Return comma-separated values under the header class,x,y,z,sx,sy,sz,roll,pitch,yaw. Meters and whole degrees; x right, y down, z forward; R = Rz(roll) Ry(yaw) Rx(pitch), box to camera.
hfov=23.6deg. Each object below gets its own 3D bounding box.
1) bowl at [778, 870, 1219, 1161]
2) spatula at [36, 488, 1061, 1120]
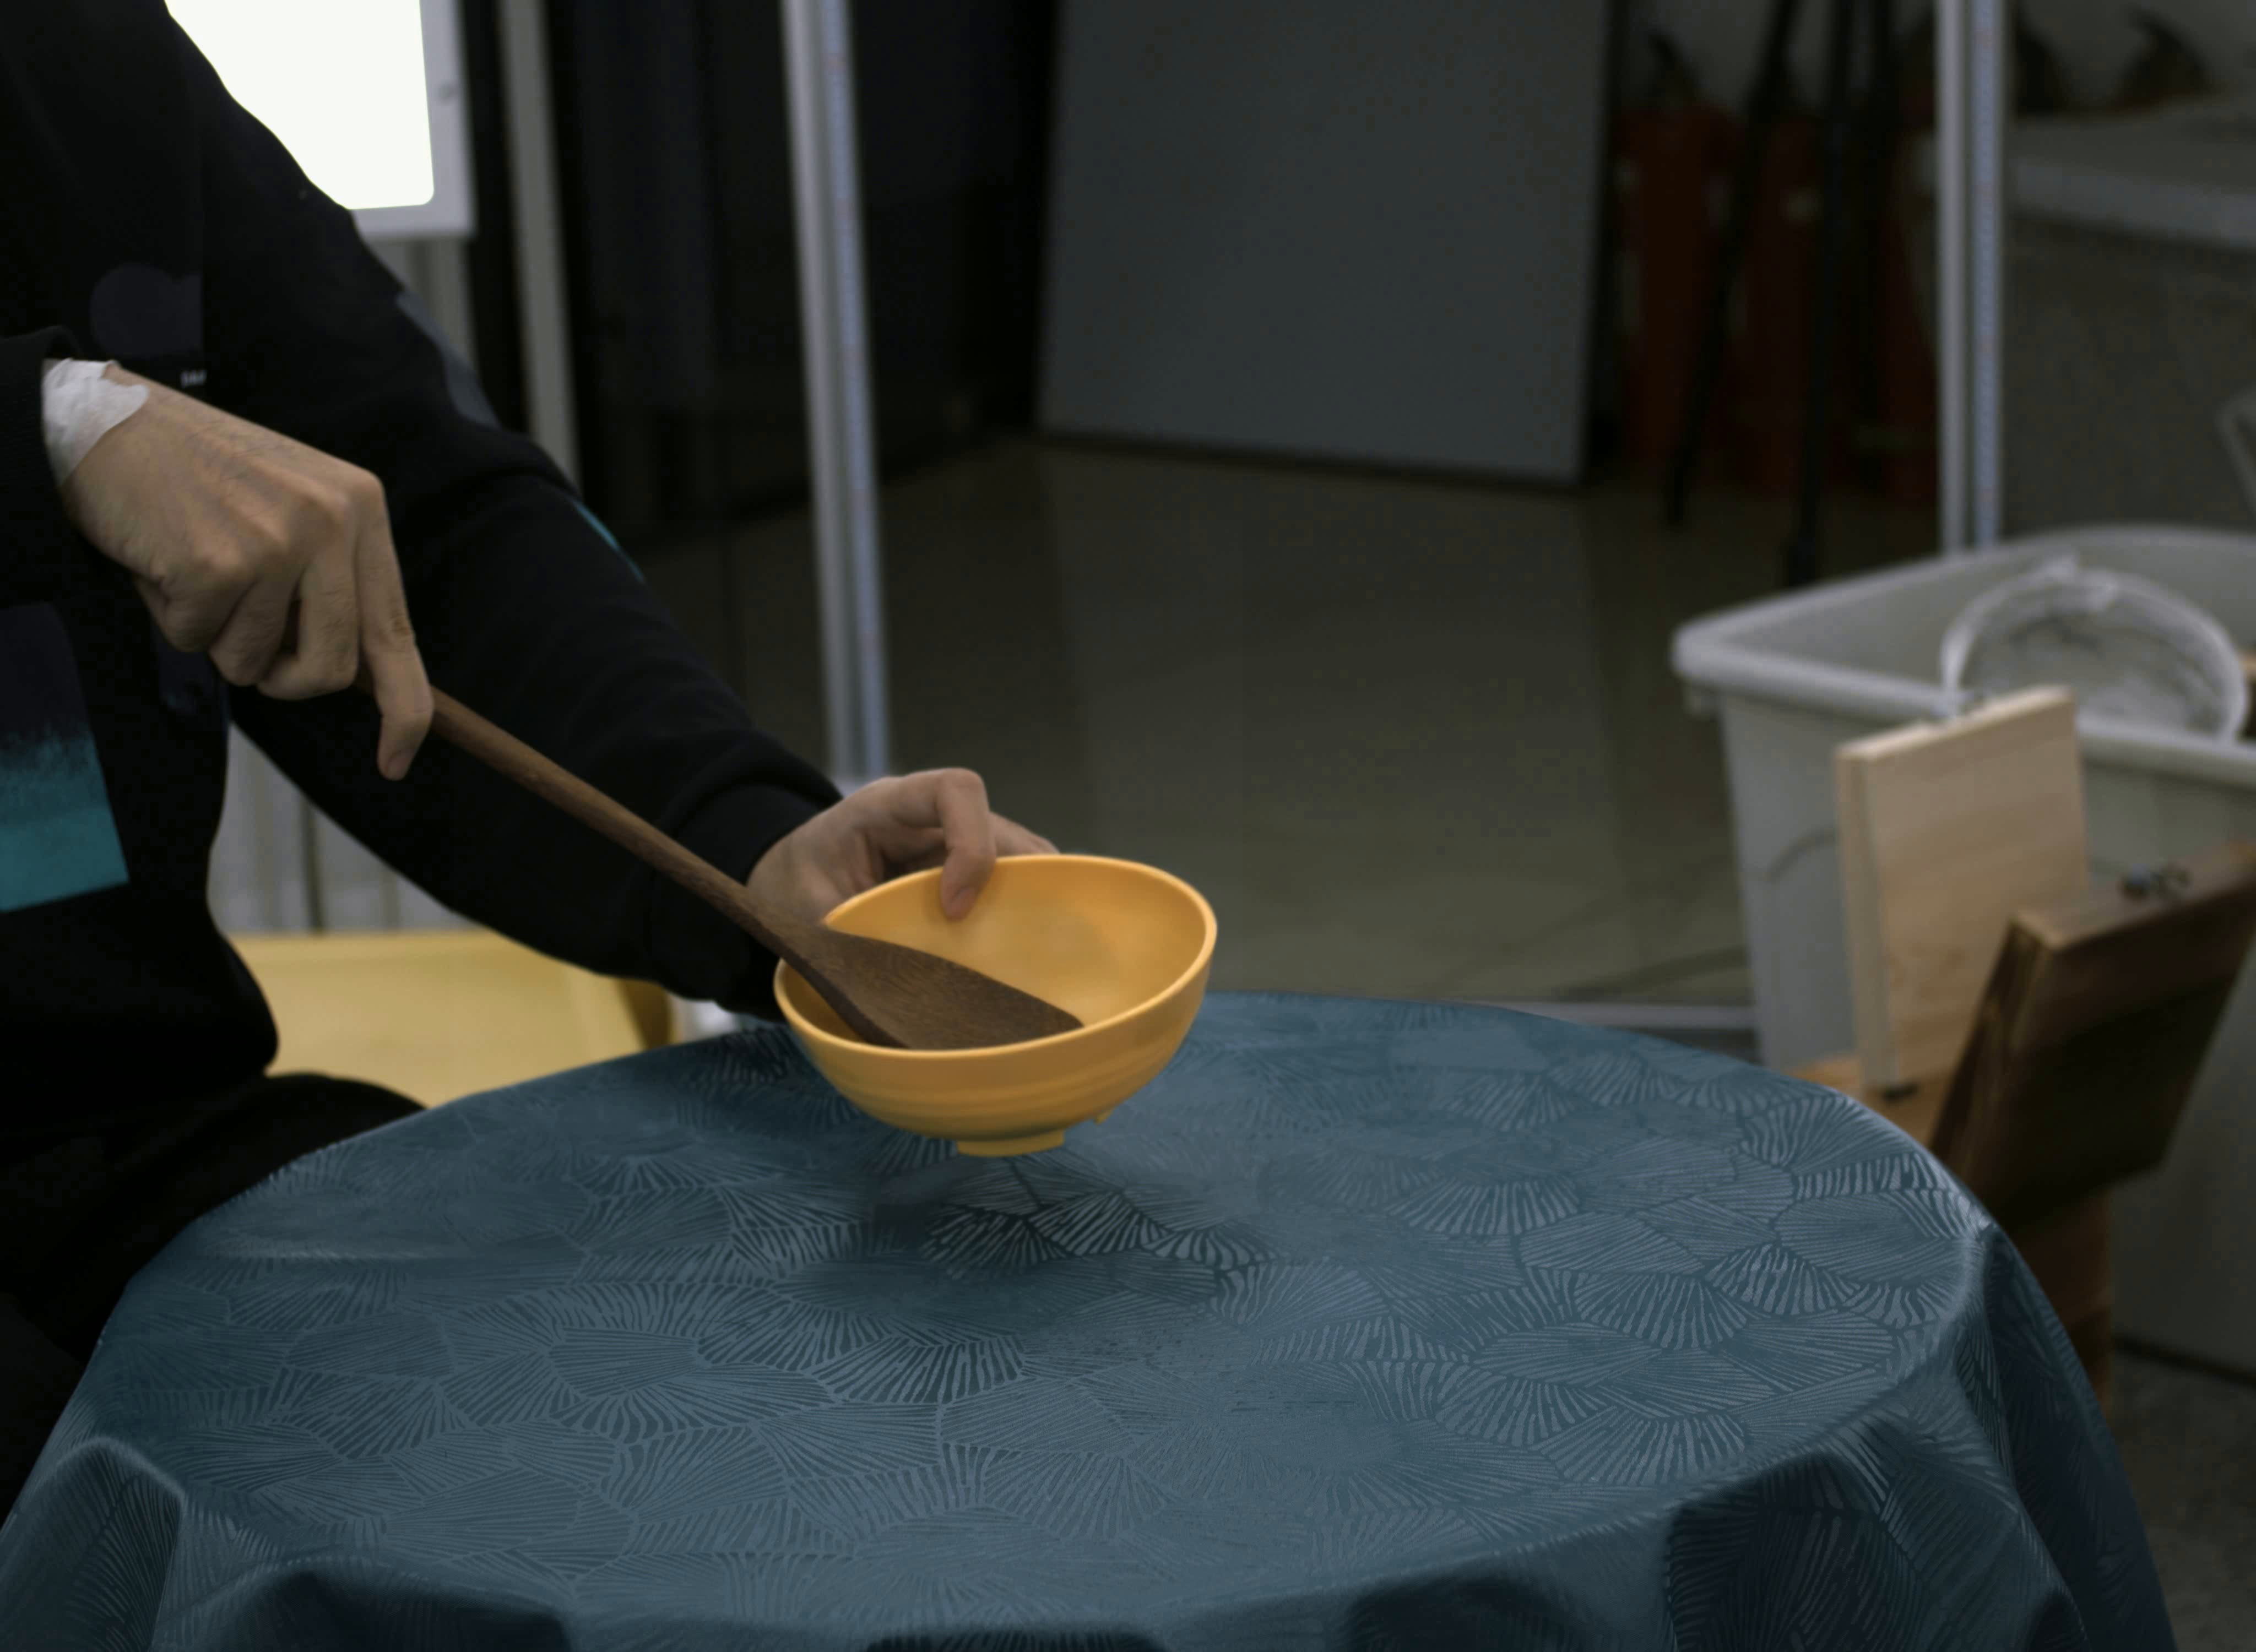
class,x,y,z,sx,sy,sz,roll,pitch,yaw
bowl,-0.039,0.068,1.741,0.143,0.060,0.146,-7,20,2
spatula,-0.179,-0.010,1.730,0.383,0.016,0.096,31,17,-2
